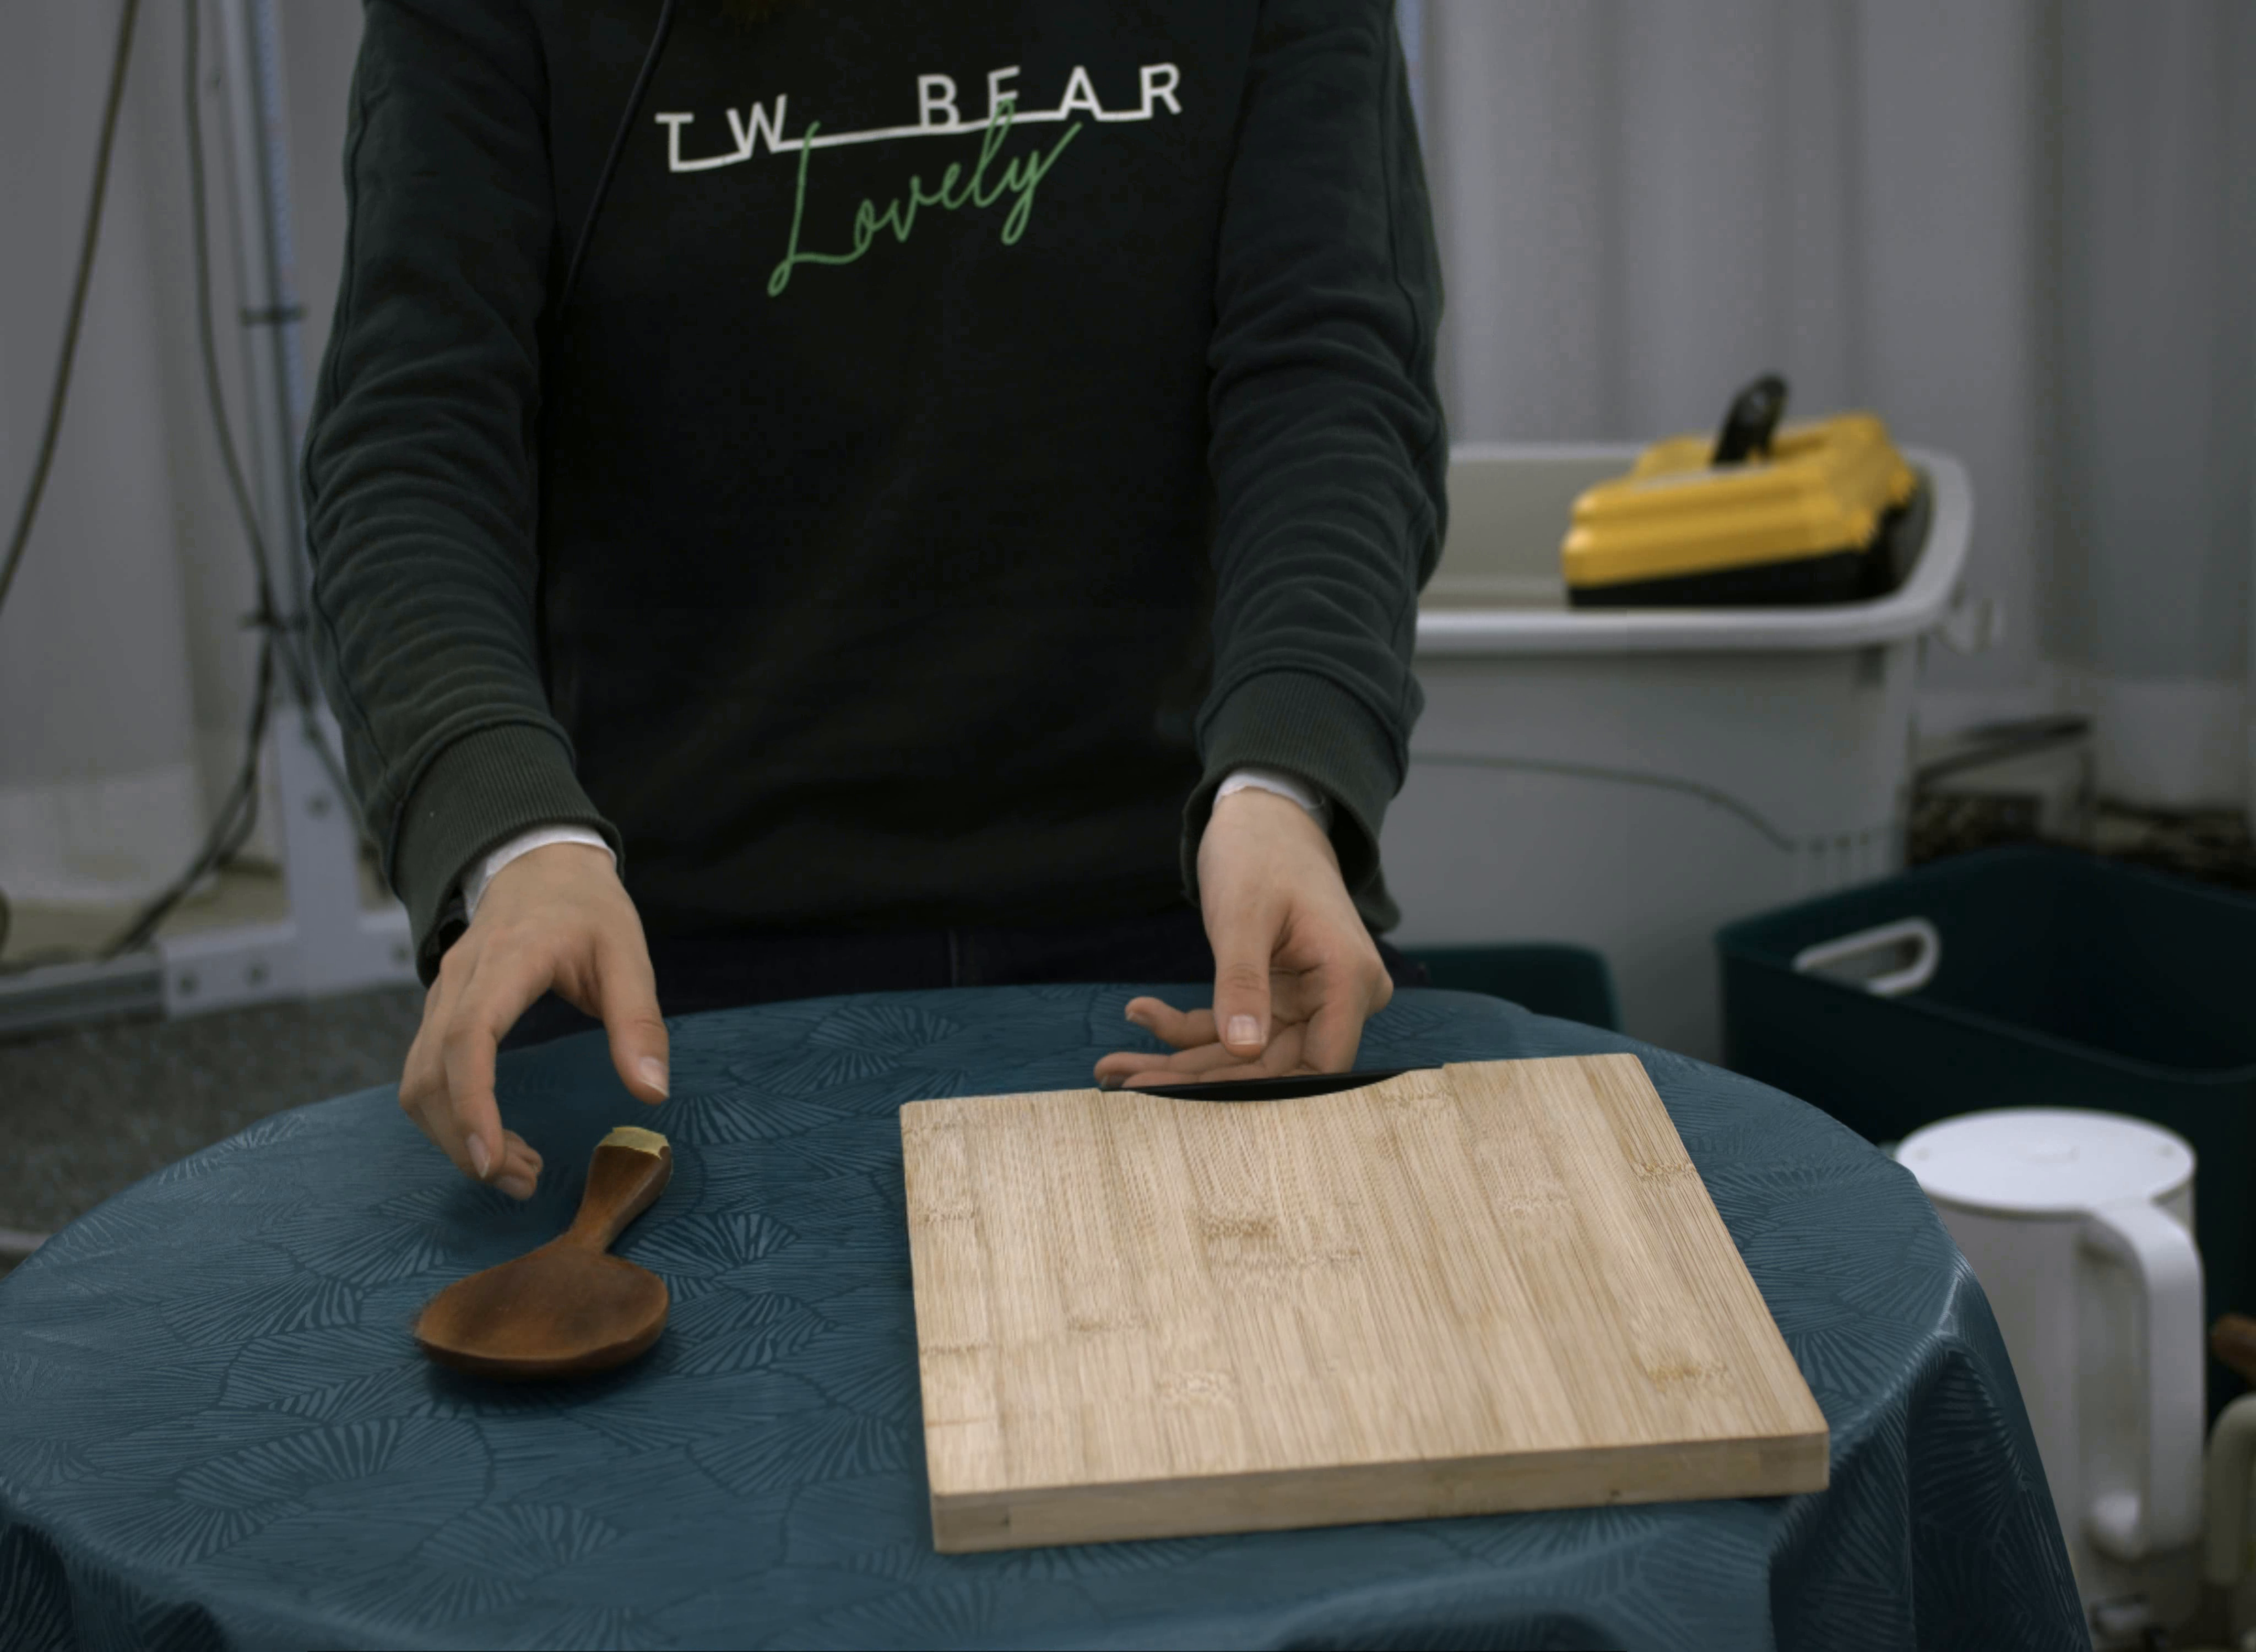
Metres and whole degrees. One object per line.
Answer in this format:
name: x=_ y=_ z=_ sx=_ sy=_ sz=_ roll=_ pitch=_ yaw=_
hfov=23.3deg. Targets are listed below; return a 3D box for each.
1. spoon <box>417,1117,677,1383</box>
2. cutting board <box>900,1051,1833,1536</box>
spoon: x=-0.164 y=0.130 z=1.655 sx=0.075 sy=0.017 sz=0.217 roll=-3 pitch=15 yaw=5
cutting board: x=0.057 y=0.132 z=1.608 sx=0.250 sy=0.023 sz=0.351 roll=-3 pitch=15 yaw=-4
